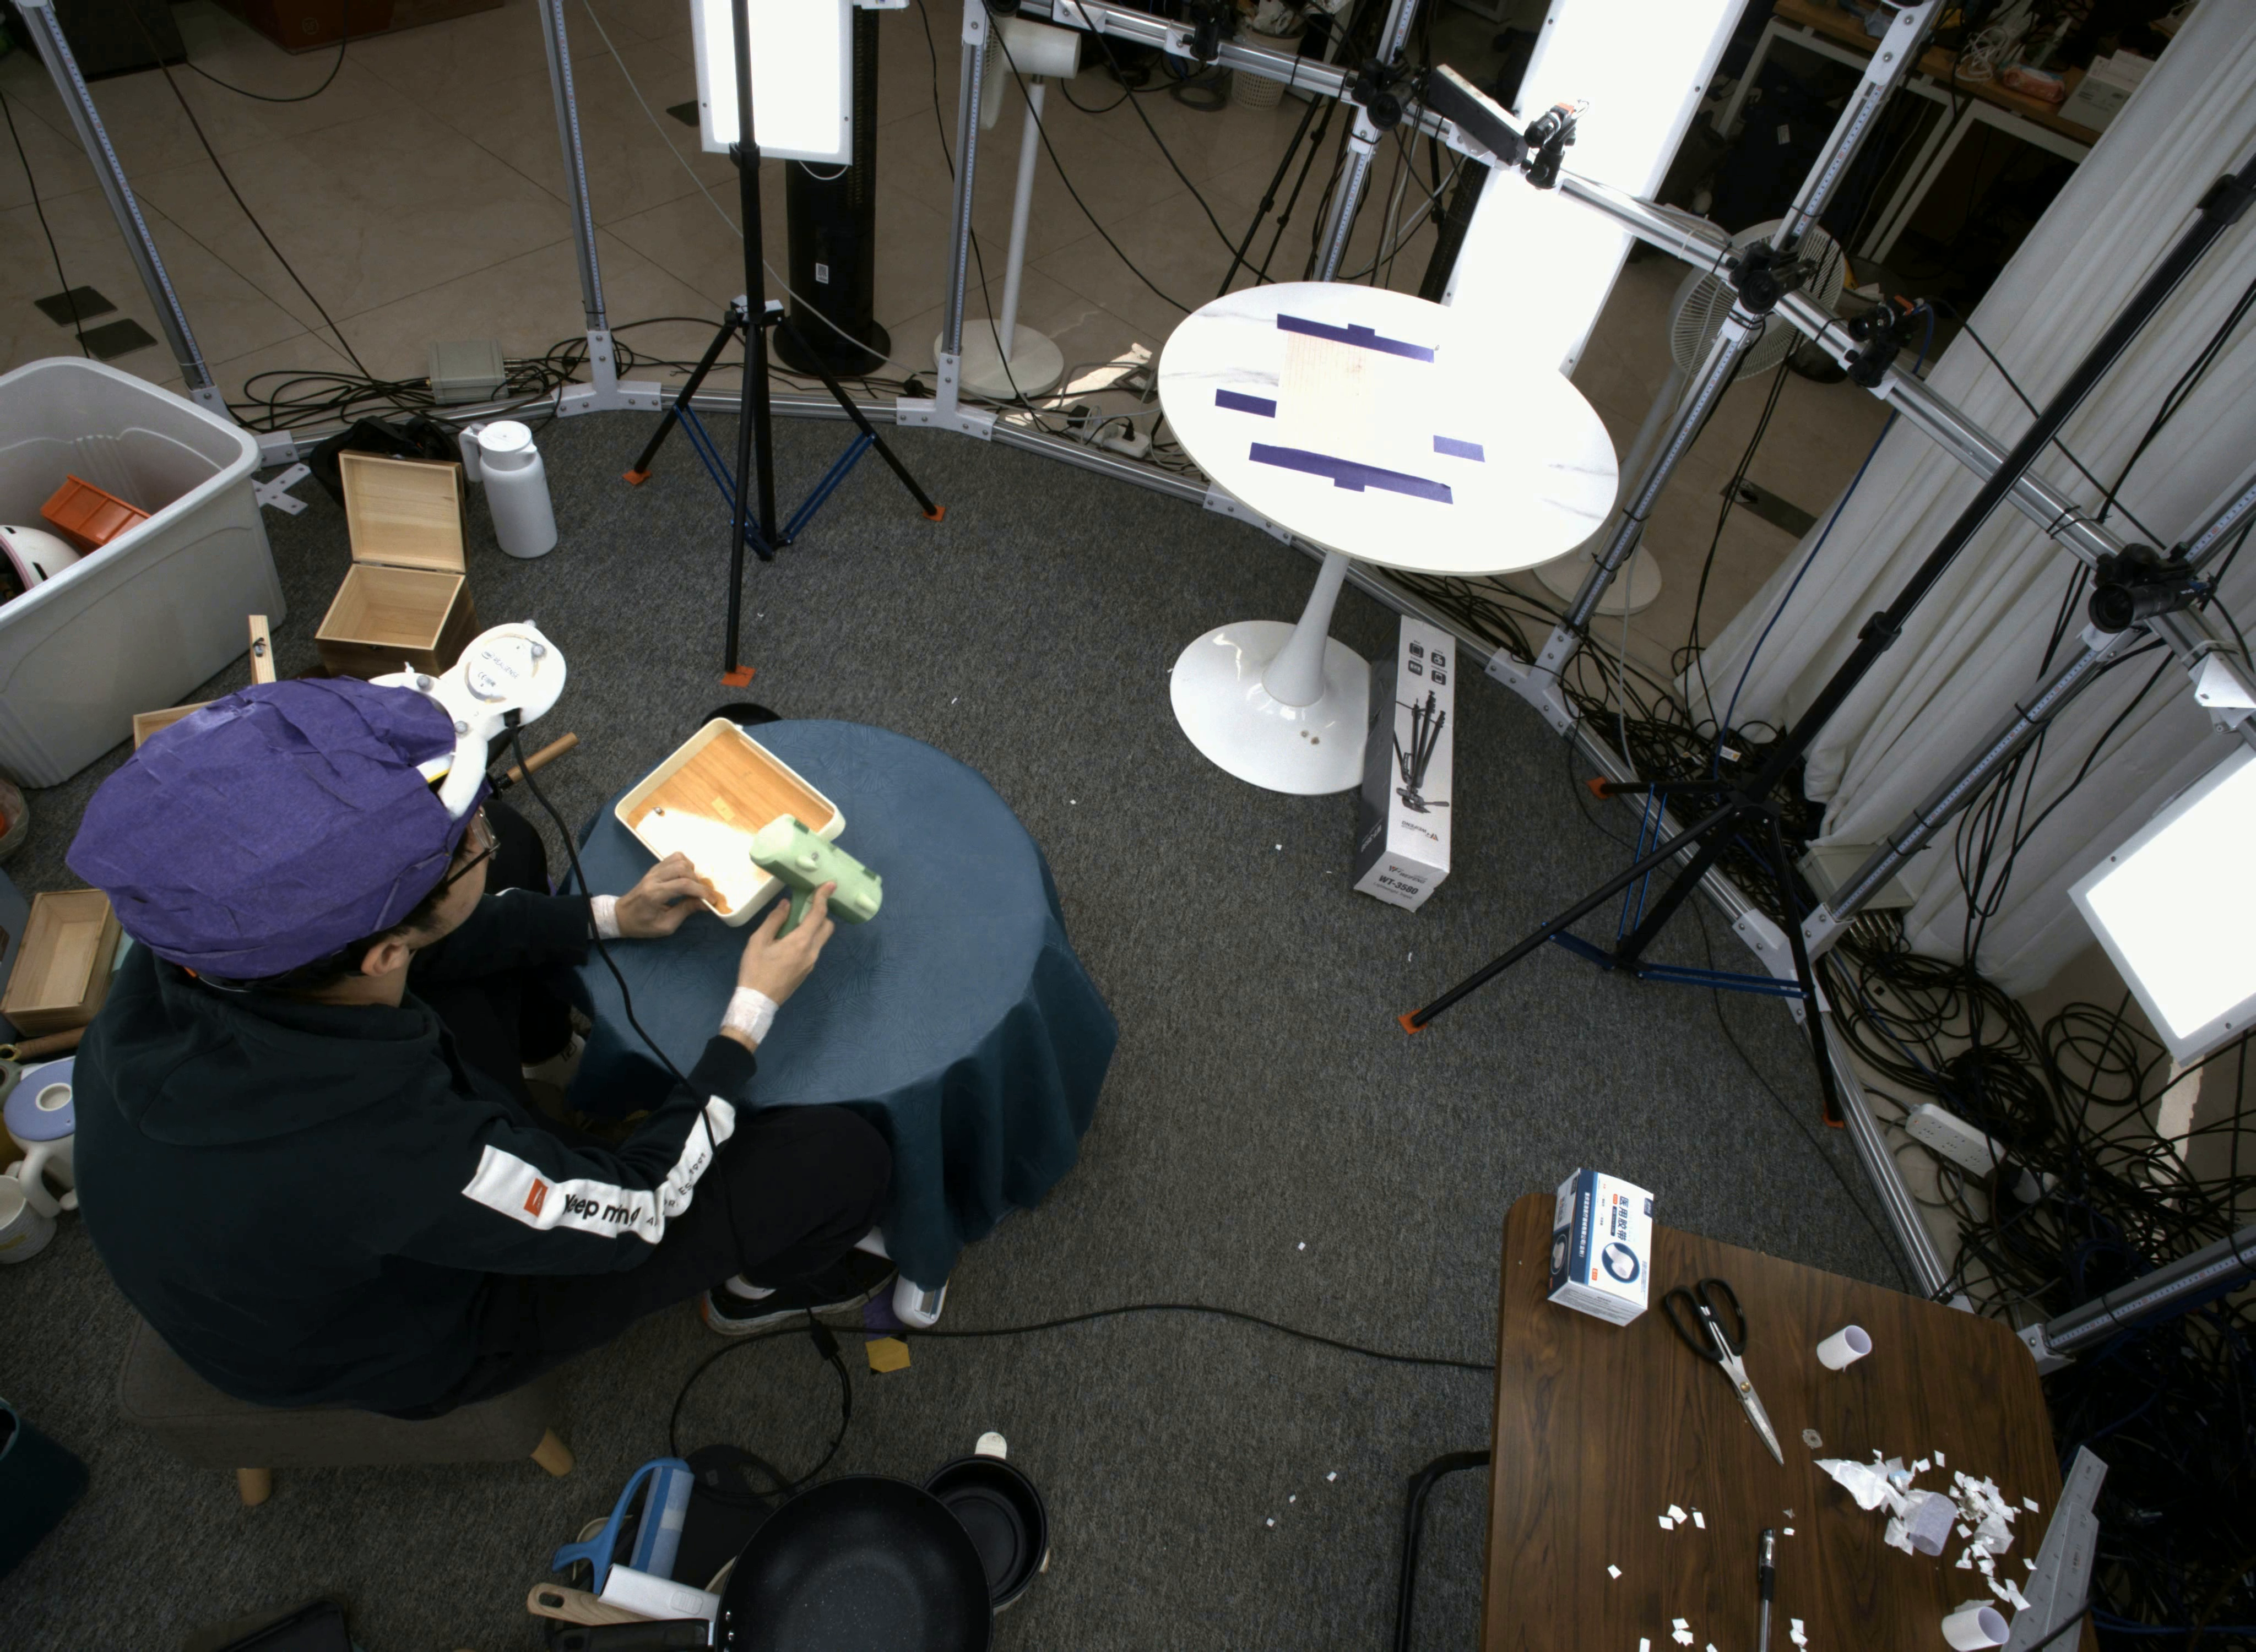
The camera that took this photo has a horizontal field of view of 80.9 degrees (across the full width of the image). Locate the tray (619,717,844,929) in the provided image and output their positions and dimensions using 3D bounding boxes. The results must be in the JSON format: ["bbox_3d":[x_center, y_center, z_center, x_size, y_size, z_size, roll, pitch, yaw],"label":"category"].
[{"bbox_3d":[-0.502,-0.012,1.614,0.289,0.028,0.191,33,71,34],"label":"tray"}]

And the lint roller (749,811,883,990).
[{"bbox_3d":[-0.372,0.104,1.515,0.079,0.206,0.183,4,67,28],"label":"lint roller"}]
